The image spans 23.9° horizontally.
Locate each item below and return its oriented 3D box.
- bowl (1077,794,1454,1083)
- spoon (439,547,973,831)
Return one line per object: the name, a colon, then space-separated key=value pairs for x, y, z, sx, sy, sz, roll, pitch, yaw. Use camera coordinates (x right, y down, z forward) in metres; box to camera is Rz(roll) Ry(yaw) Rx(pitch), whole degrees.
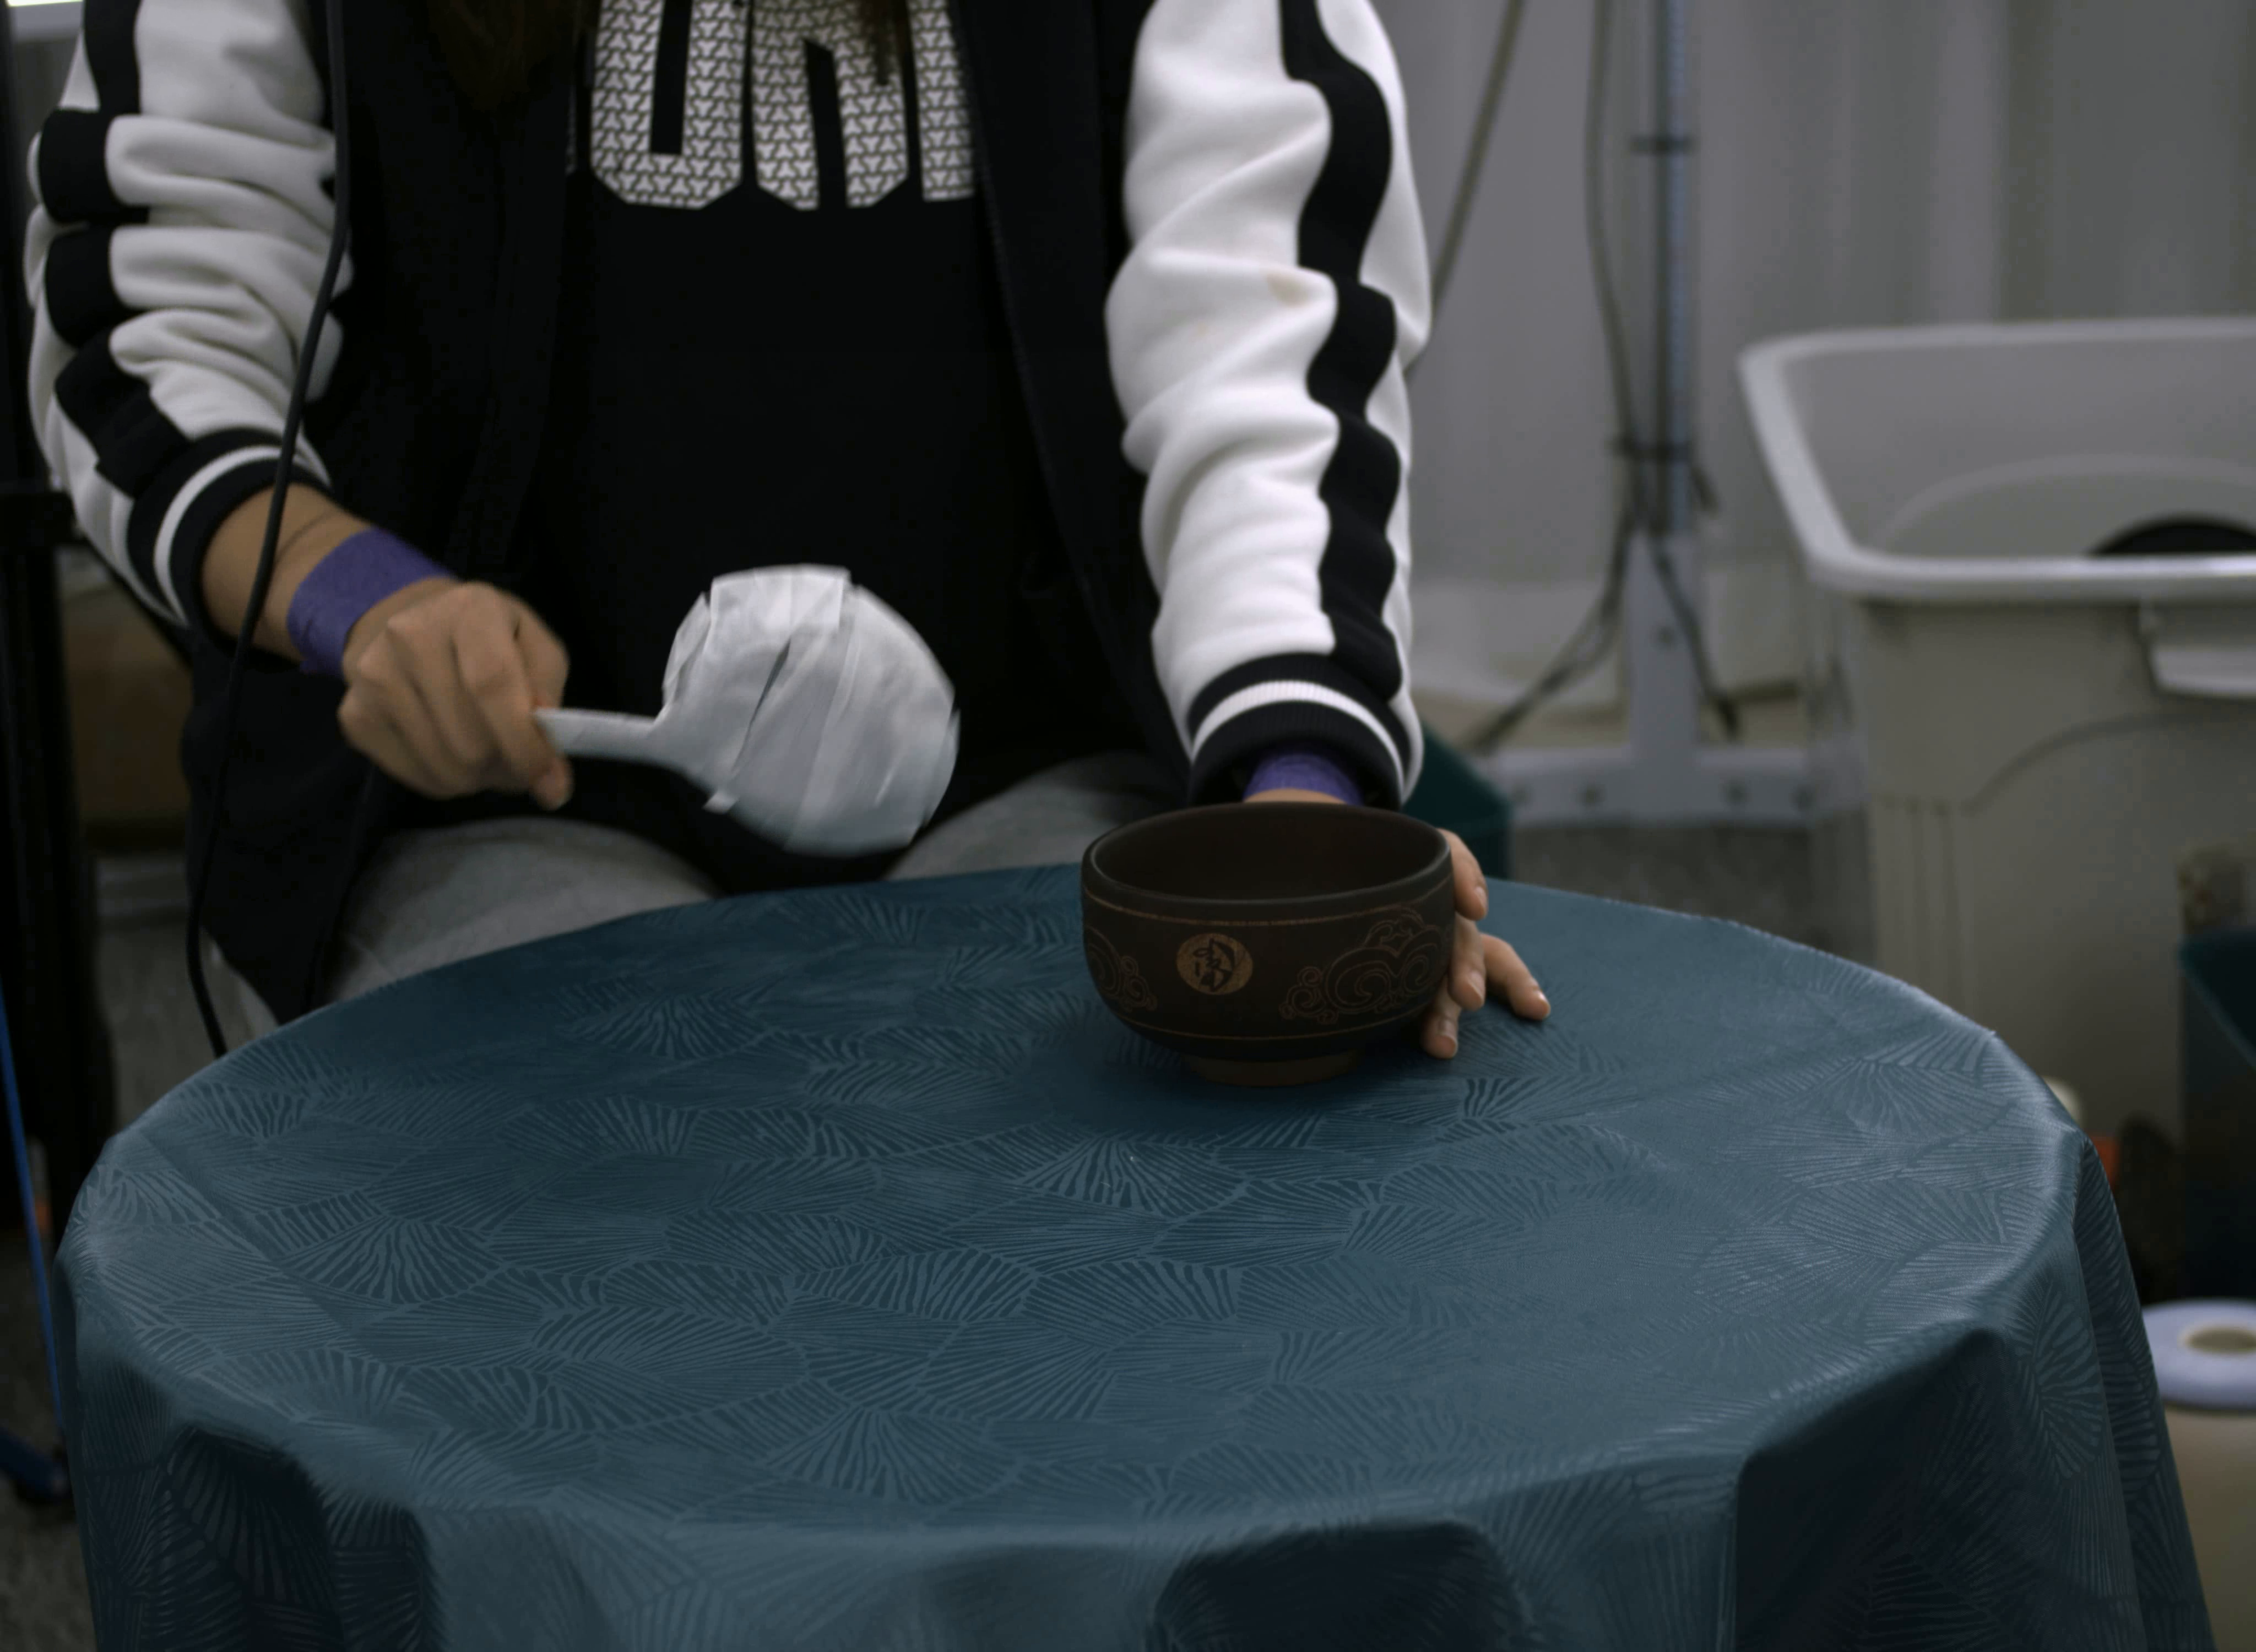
bowl: x=0.043 y=0.039 z=1.661 sx=0.117 sy=0.070 sz=0.118 roll=-2 pitch=16 yaw=-1
spoon: x=-0.138 y=-0.043 z=1.670 sx=0.059 sy=0.100 sz=0.283 roll=-36 pitch=18 yaw=-22
